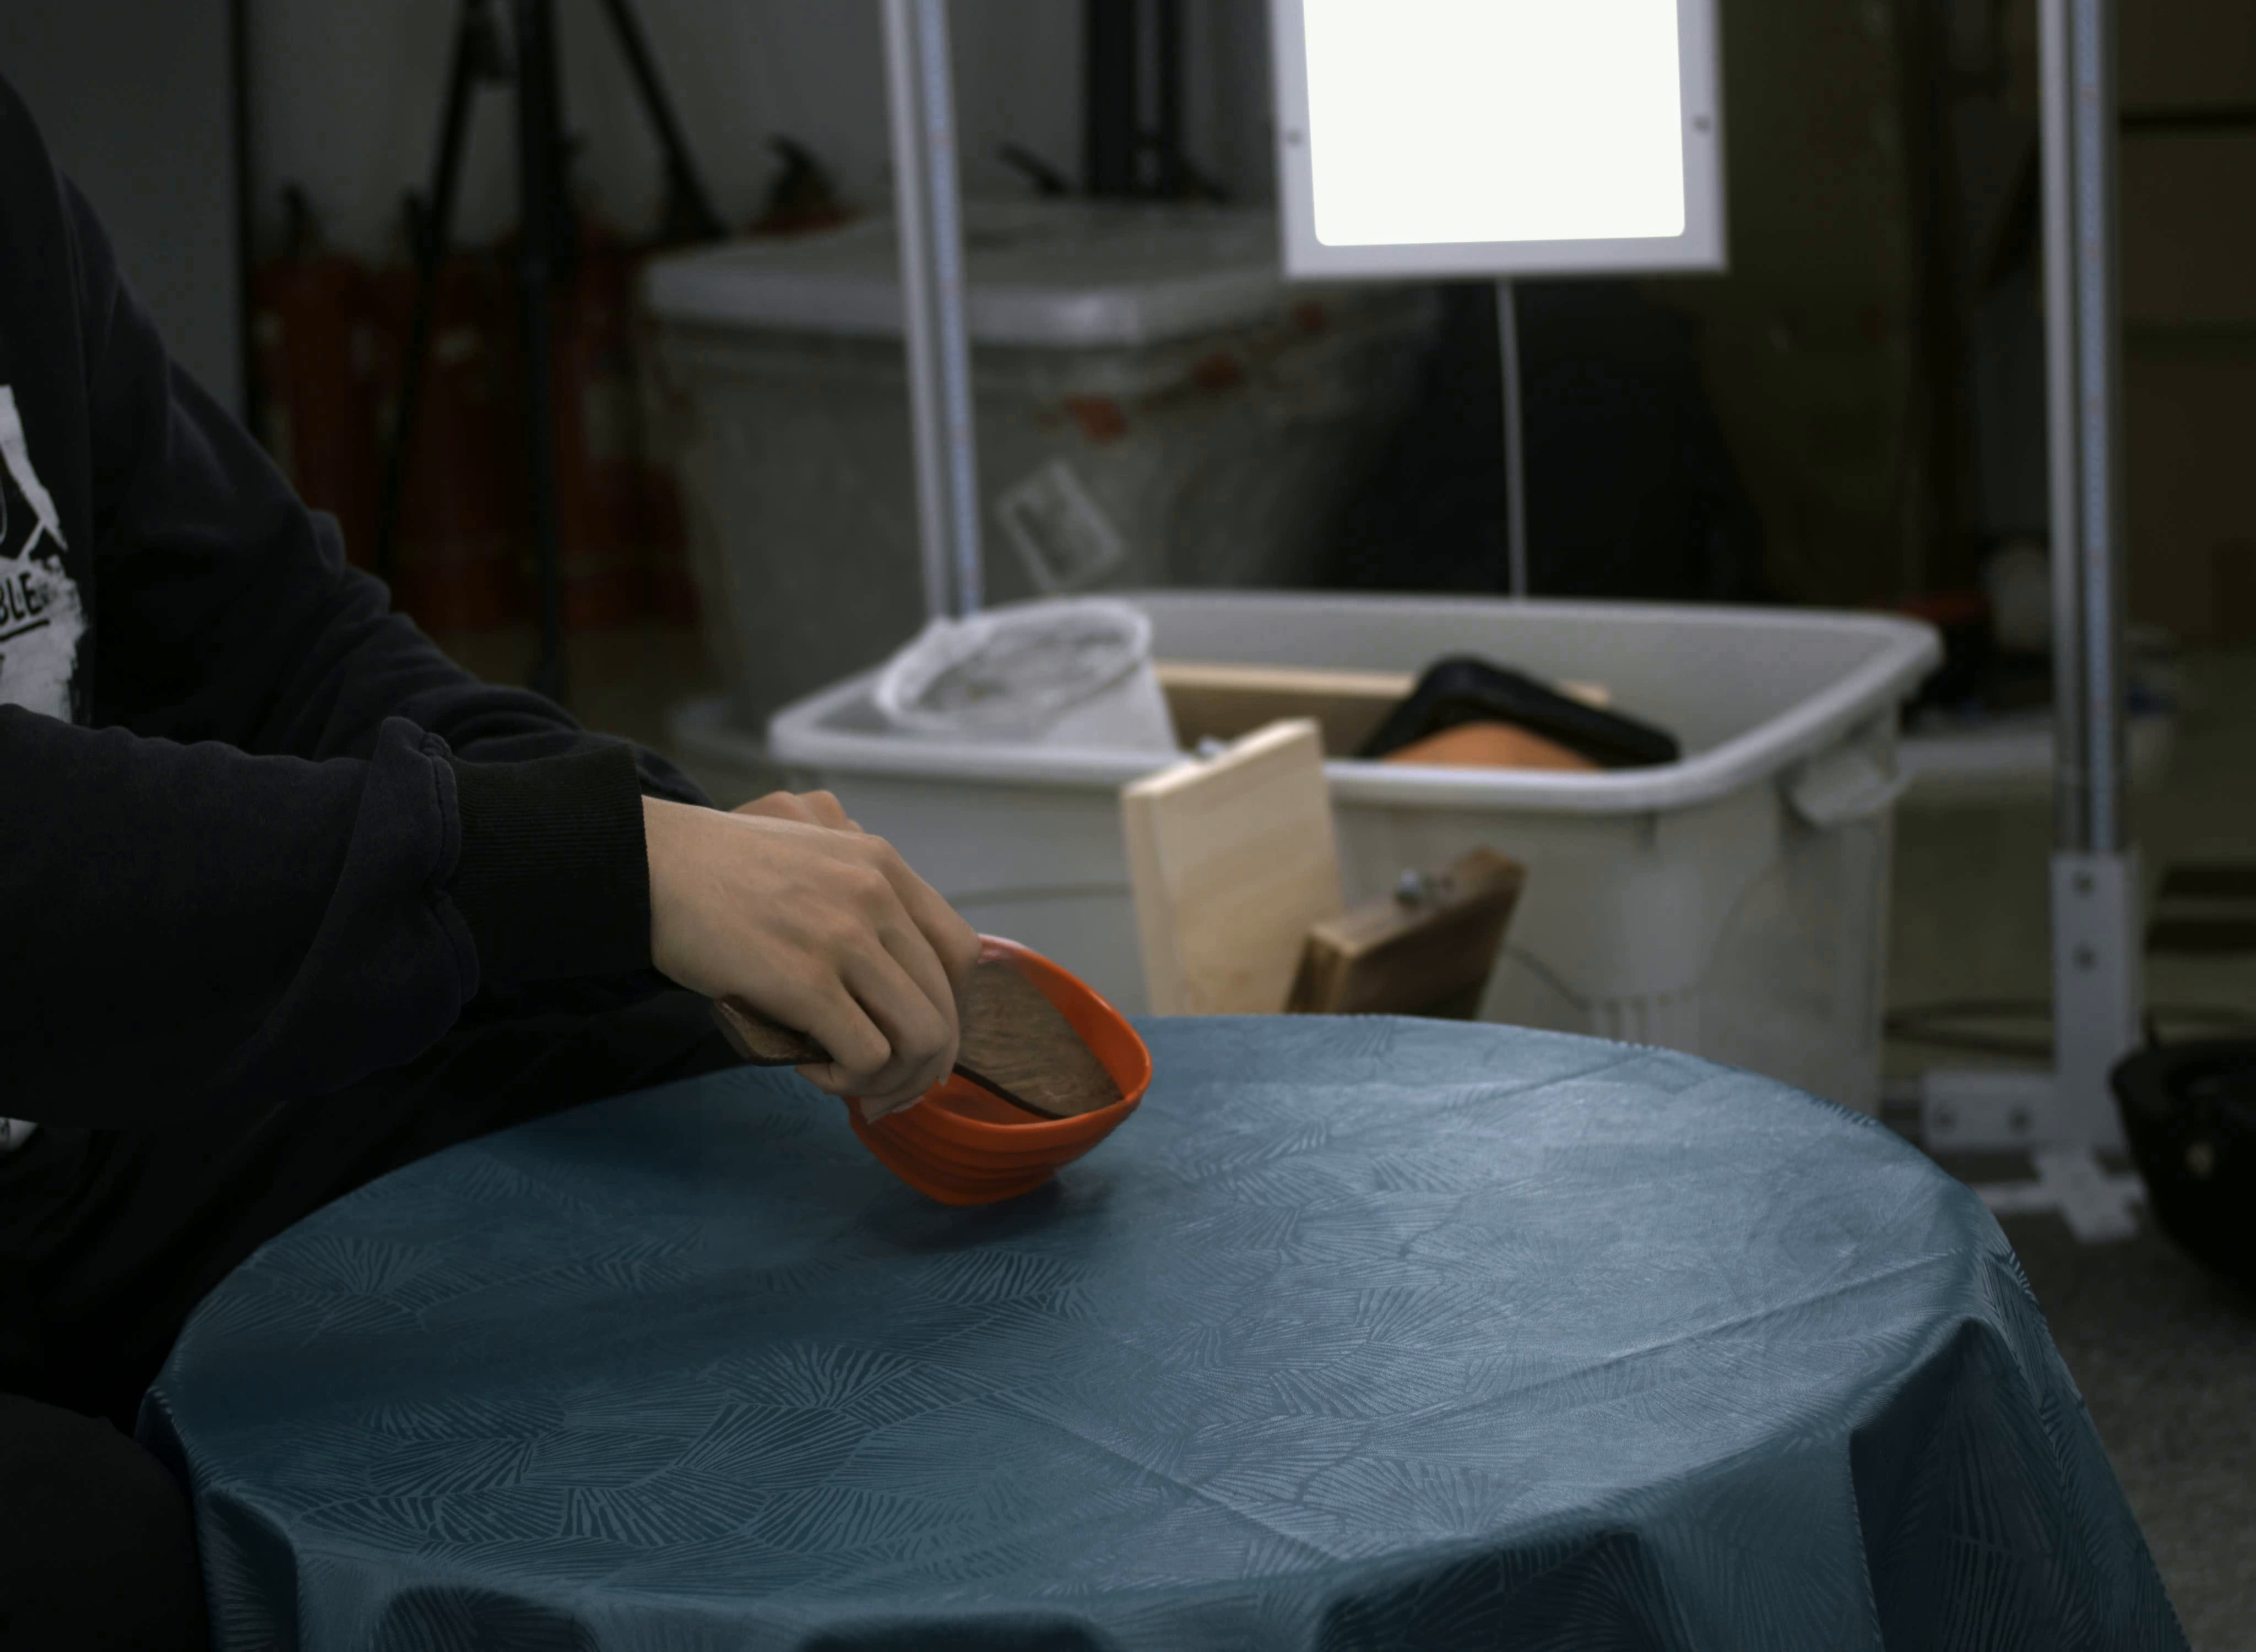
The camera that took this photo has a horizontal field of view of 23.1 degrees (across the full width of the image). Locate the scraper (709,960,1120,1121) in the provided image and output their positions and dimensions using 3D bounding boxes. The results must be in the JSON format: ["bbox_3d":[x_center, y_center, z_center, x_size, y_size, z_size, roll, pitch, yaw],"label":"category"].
[{"bbox_3d":[-0.074,0.070,1.836,0.076,0.011,0.206,51,21,24],"label":"scraper"}]

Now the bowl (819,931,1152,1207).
[{"bbox_3d":[-0.055,0.090,1.910,0.118,0.052,0.118,12,31,-9],"label":"bowl"}]
